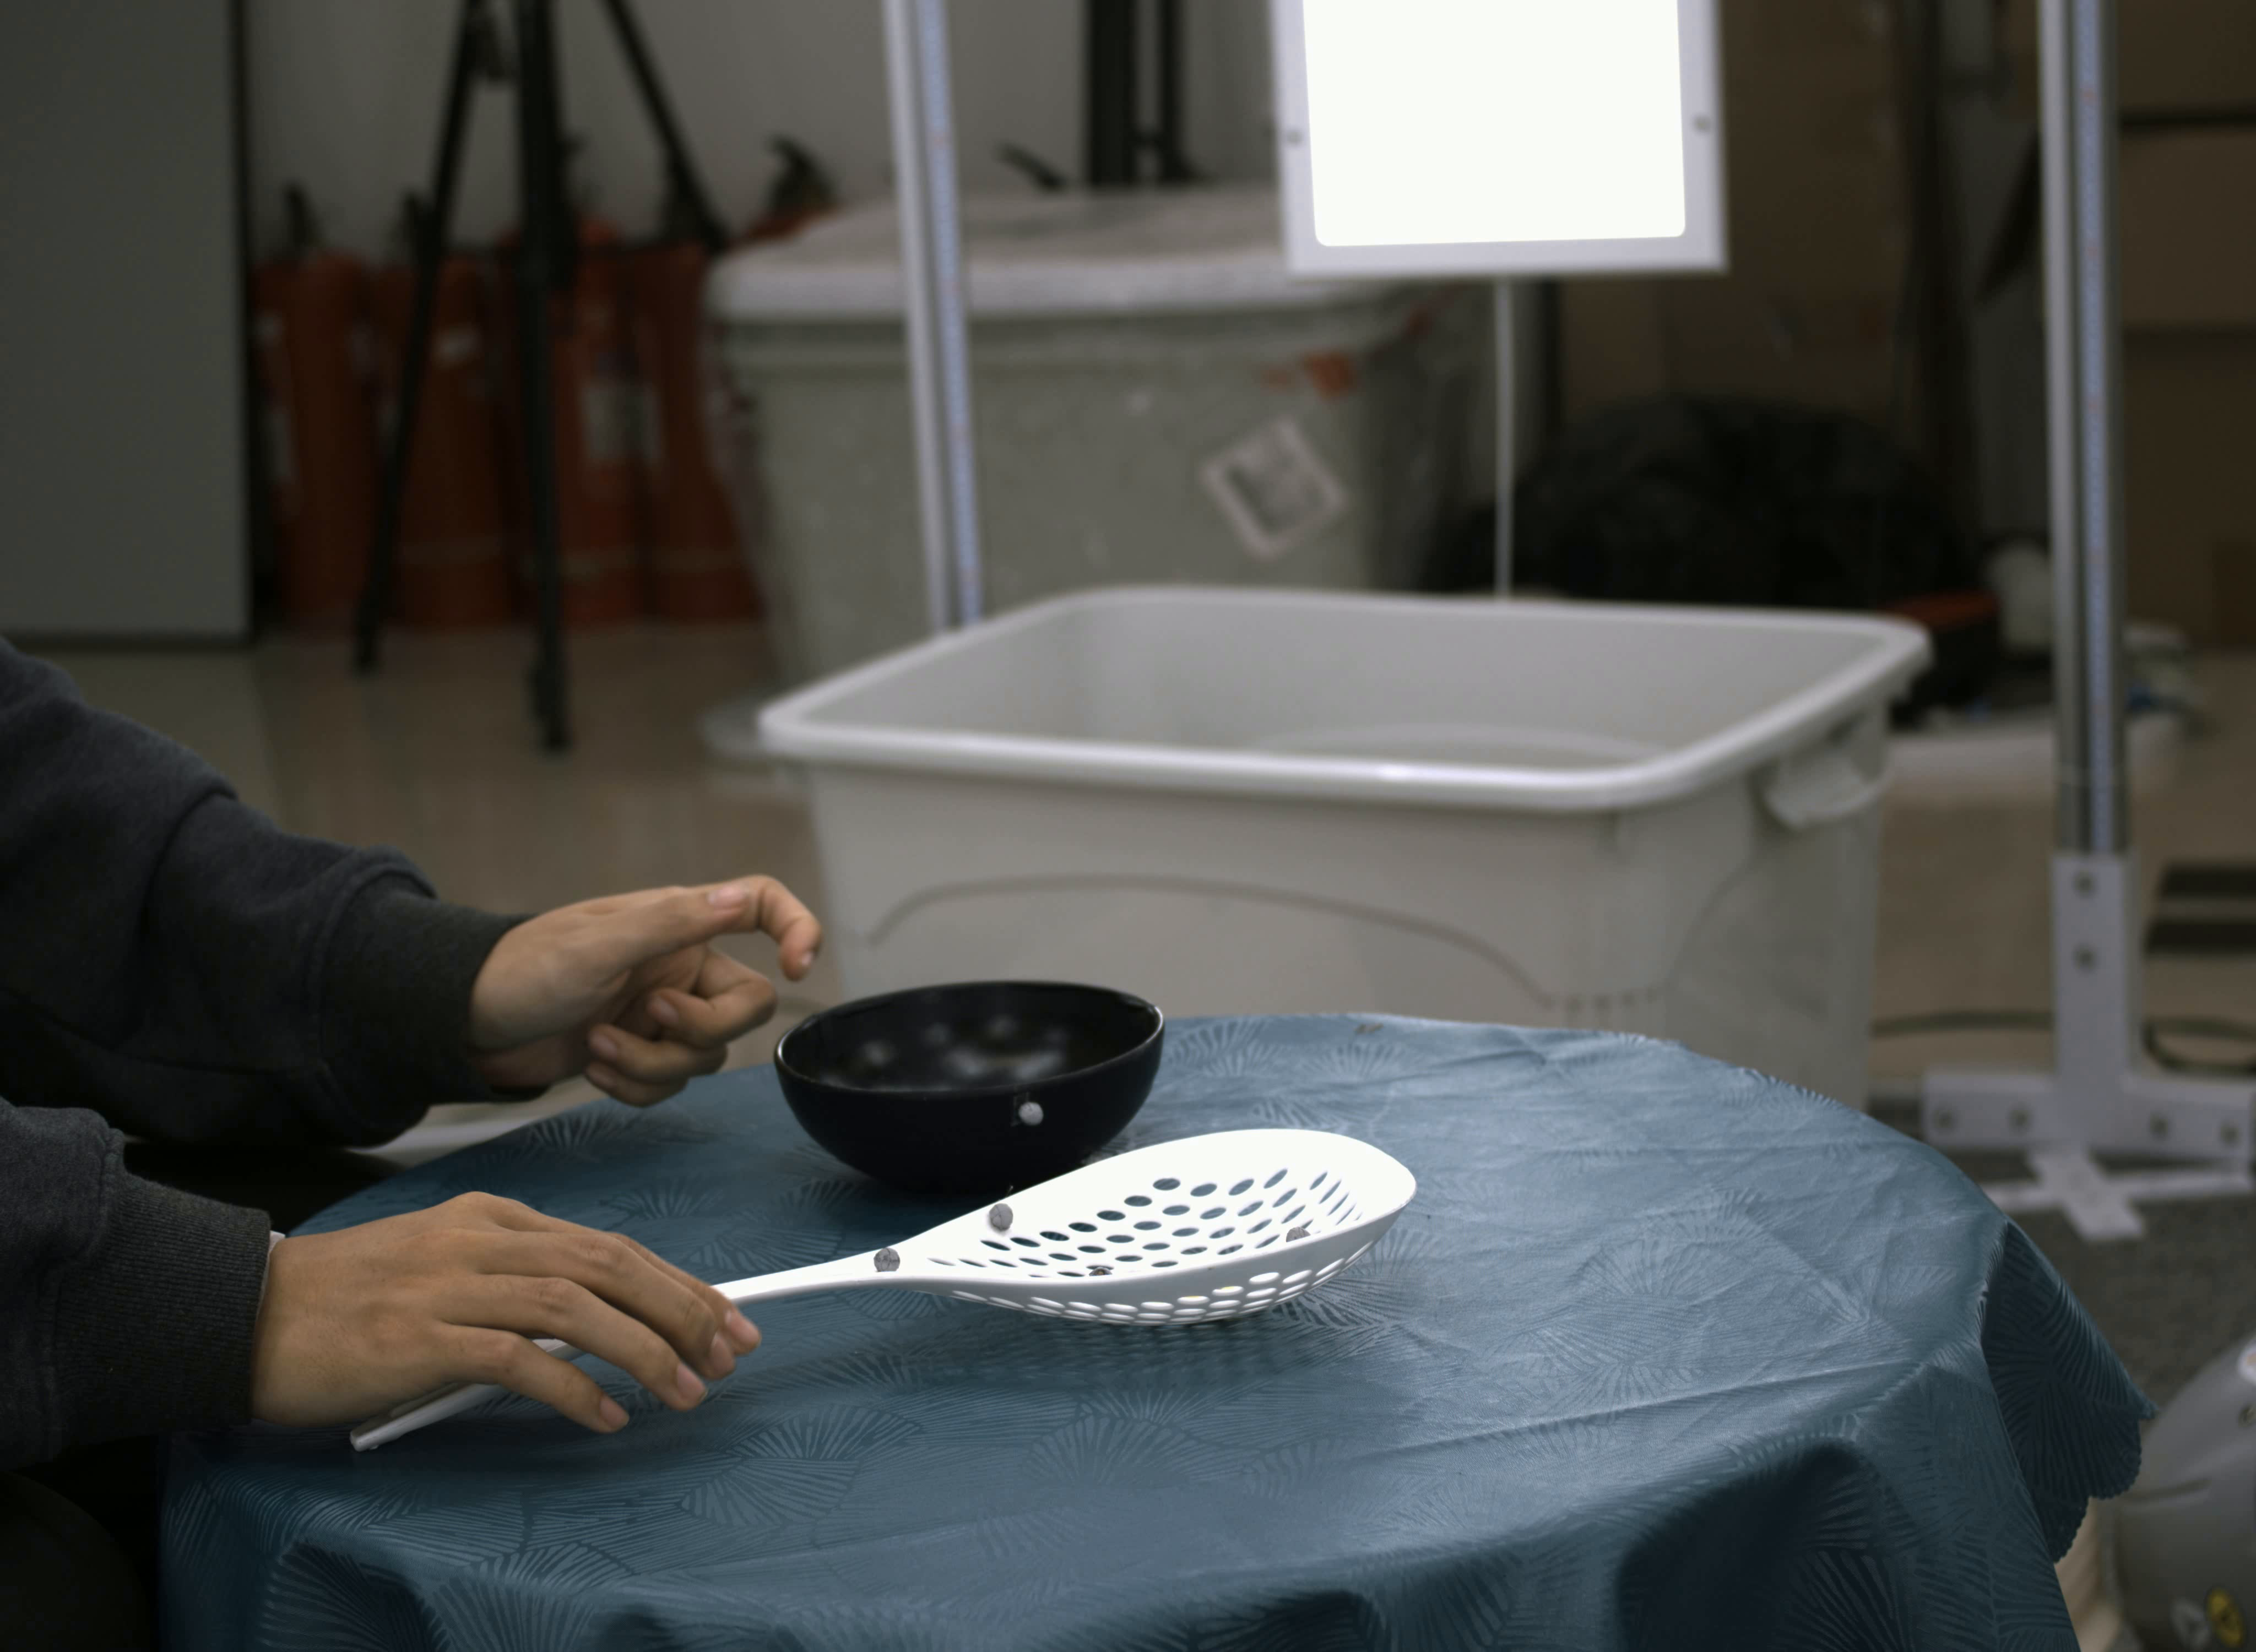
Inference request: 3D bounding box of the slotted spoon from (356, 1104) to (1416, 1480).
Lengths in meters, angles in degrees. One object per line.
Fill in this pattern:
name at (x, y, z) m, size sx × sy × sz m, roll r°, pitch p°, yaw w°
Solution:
slotted spoon at (-0.076, 0.150, 1.744) m, size 0.343 × 0.050 × 0.138 m, roll -9°, pitch 15°, yaw -13°
